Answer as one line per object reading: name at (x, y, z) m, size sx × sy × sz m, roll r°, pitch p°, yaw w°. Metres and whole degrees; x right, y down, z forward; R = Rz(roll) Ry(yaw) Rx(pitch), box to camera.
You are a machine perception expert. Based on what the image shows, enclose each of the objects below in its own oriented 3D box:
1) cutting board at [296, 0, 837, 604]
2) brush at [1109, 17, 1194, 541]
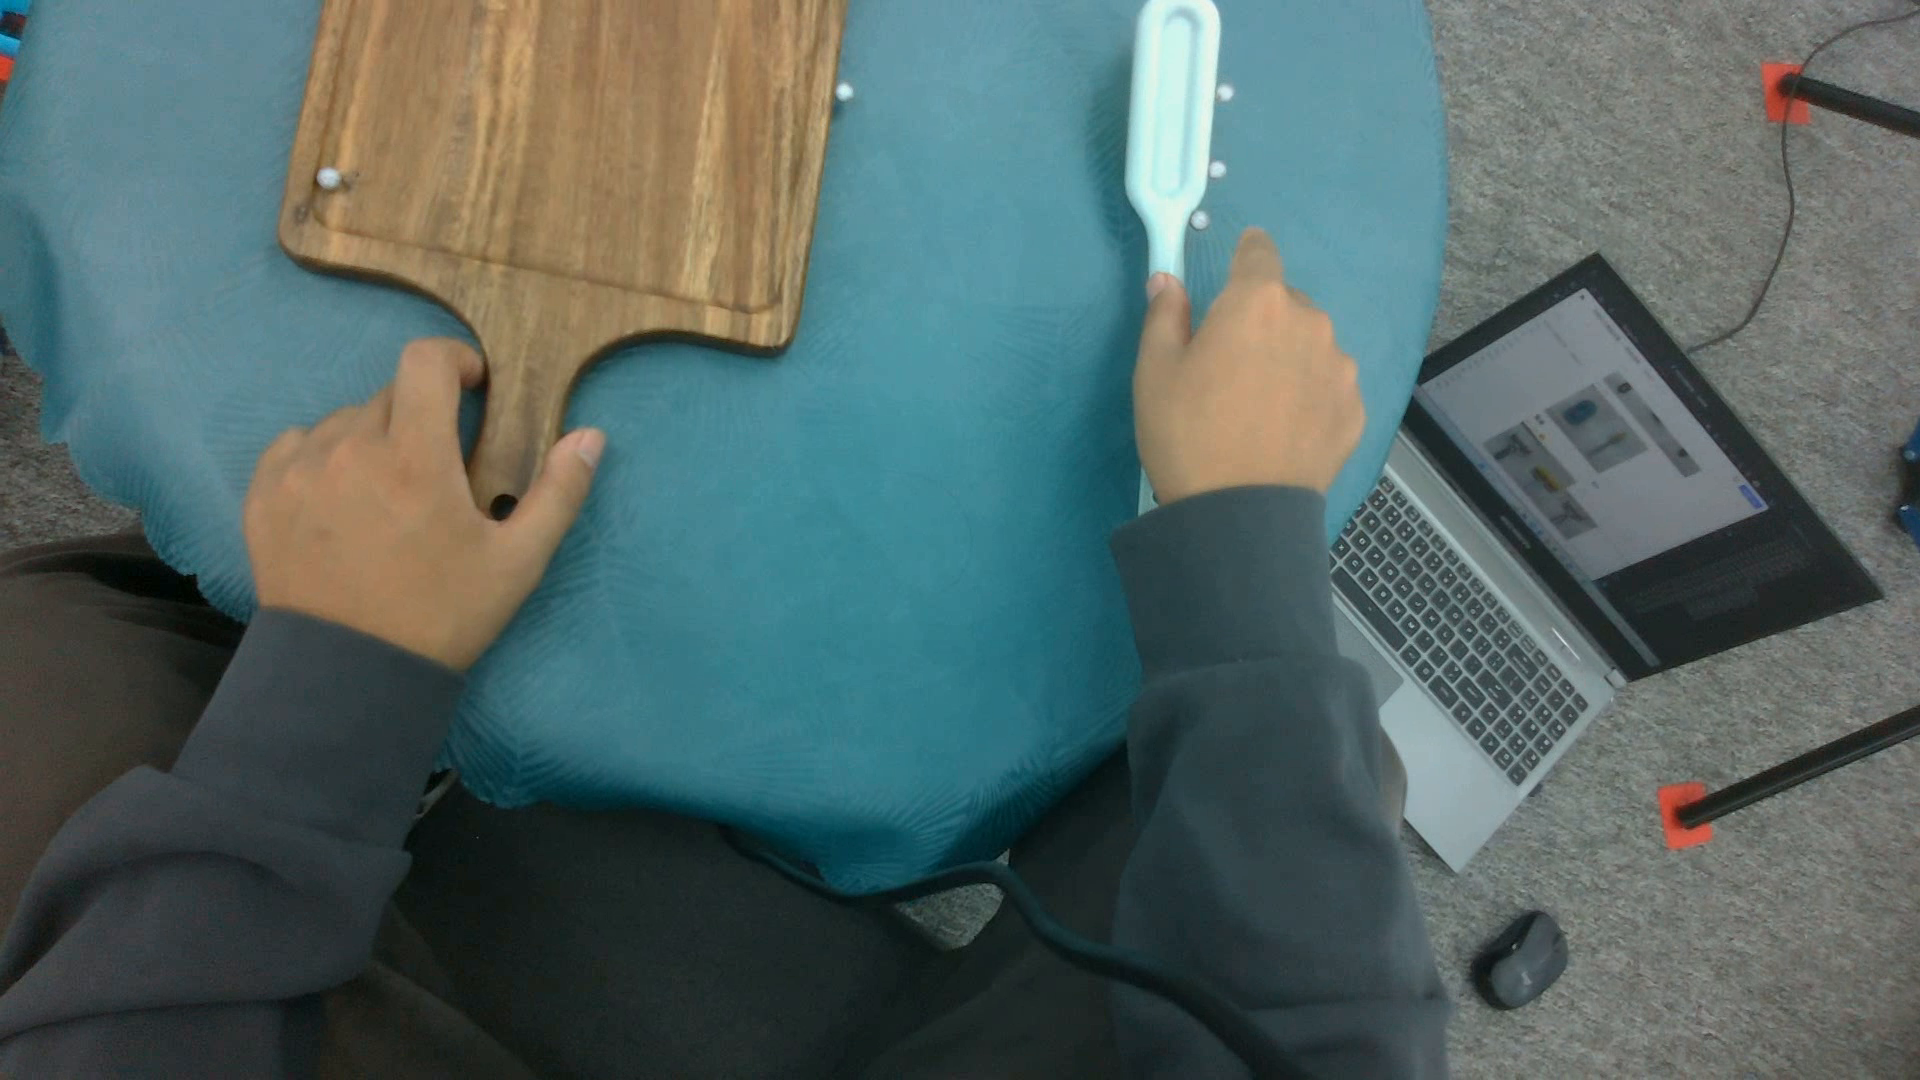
cutting board at (-0.161, -0.149, 0.574) m, size 0.201 × 0.023 × 0.352 m, roll 7°, pitch 82°, yaw -11°
brush at (0.089, -0.114, 0.620) m, size 0.038 × 0.049 × 0.228 m, roll -4°, pitch 92°, yaw -1°
